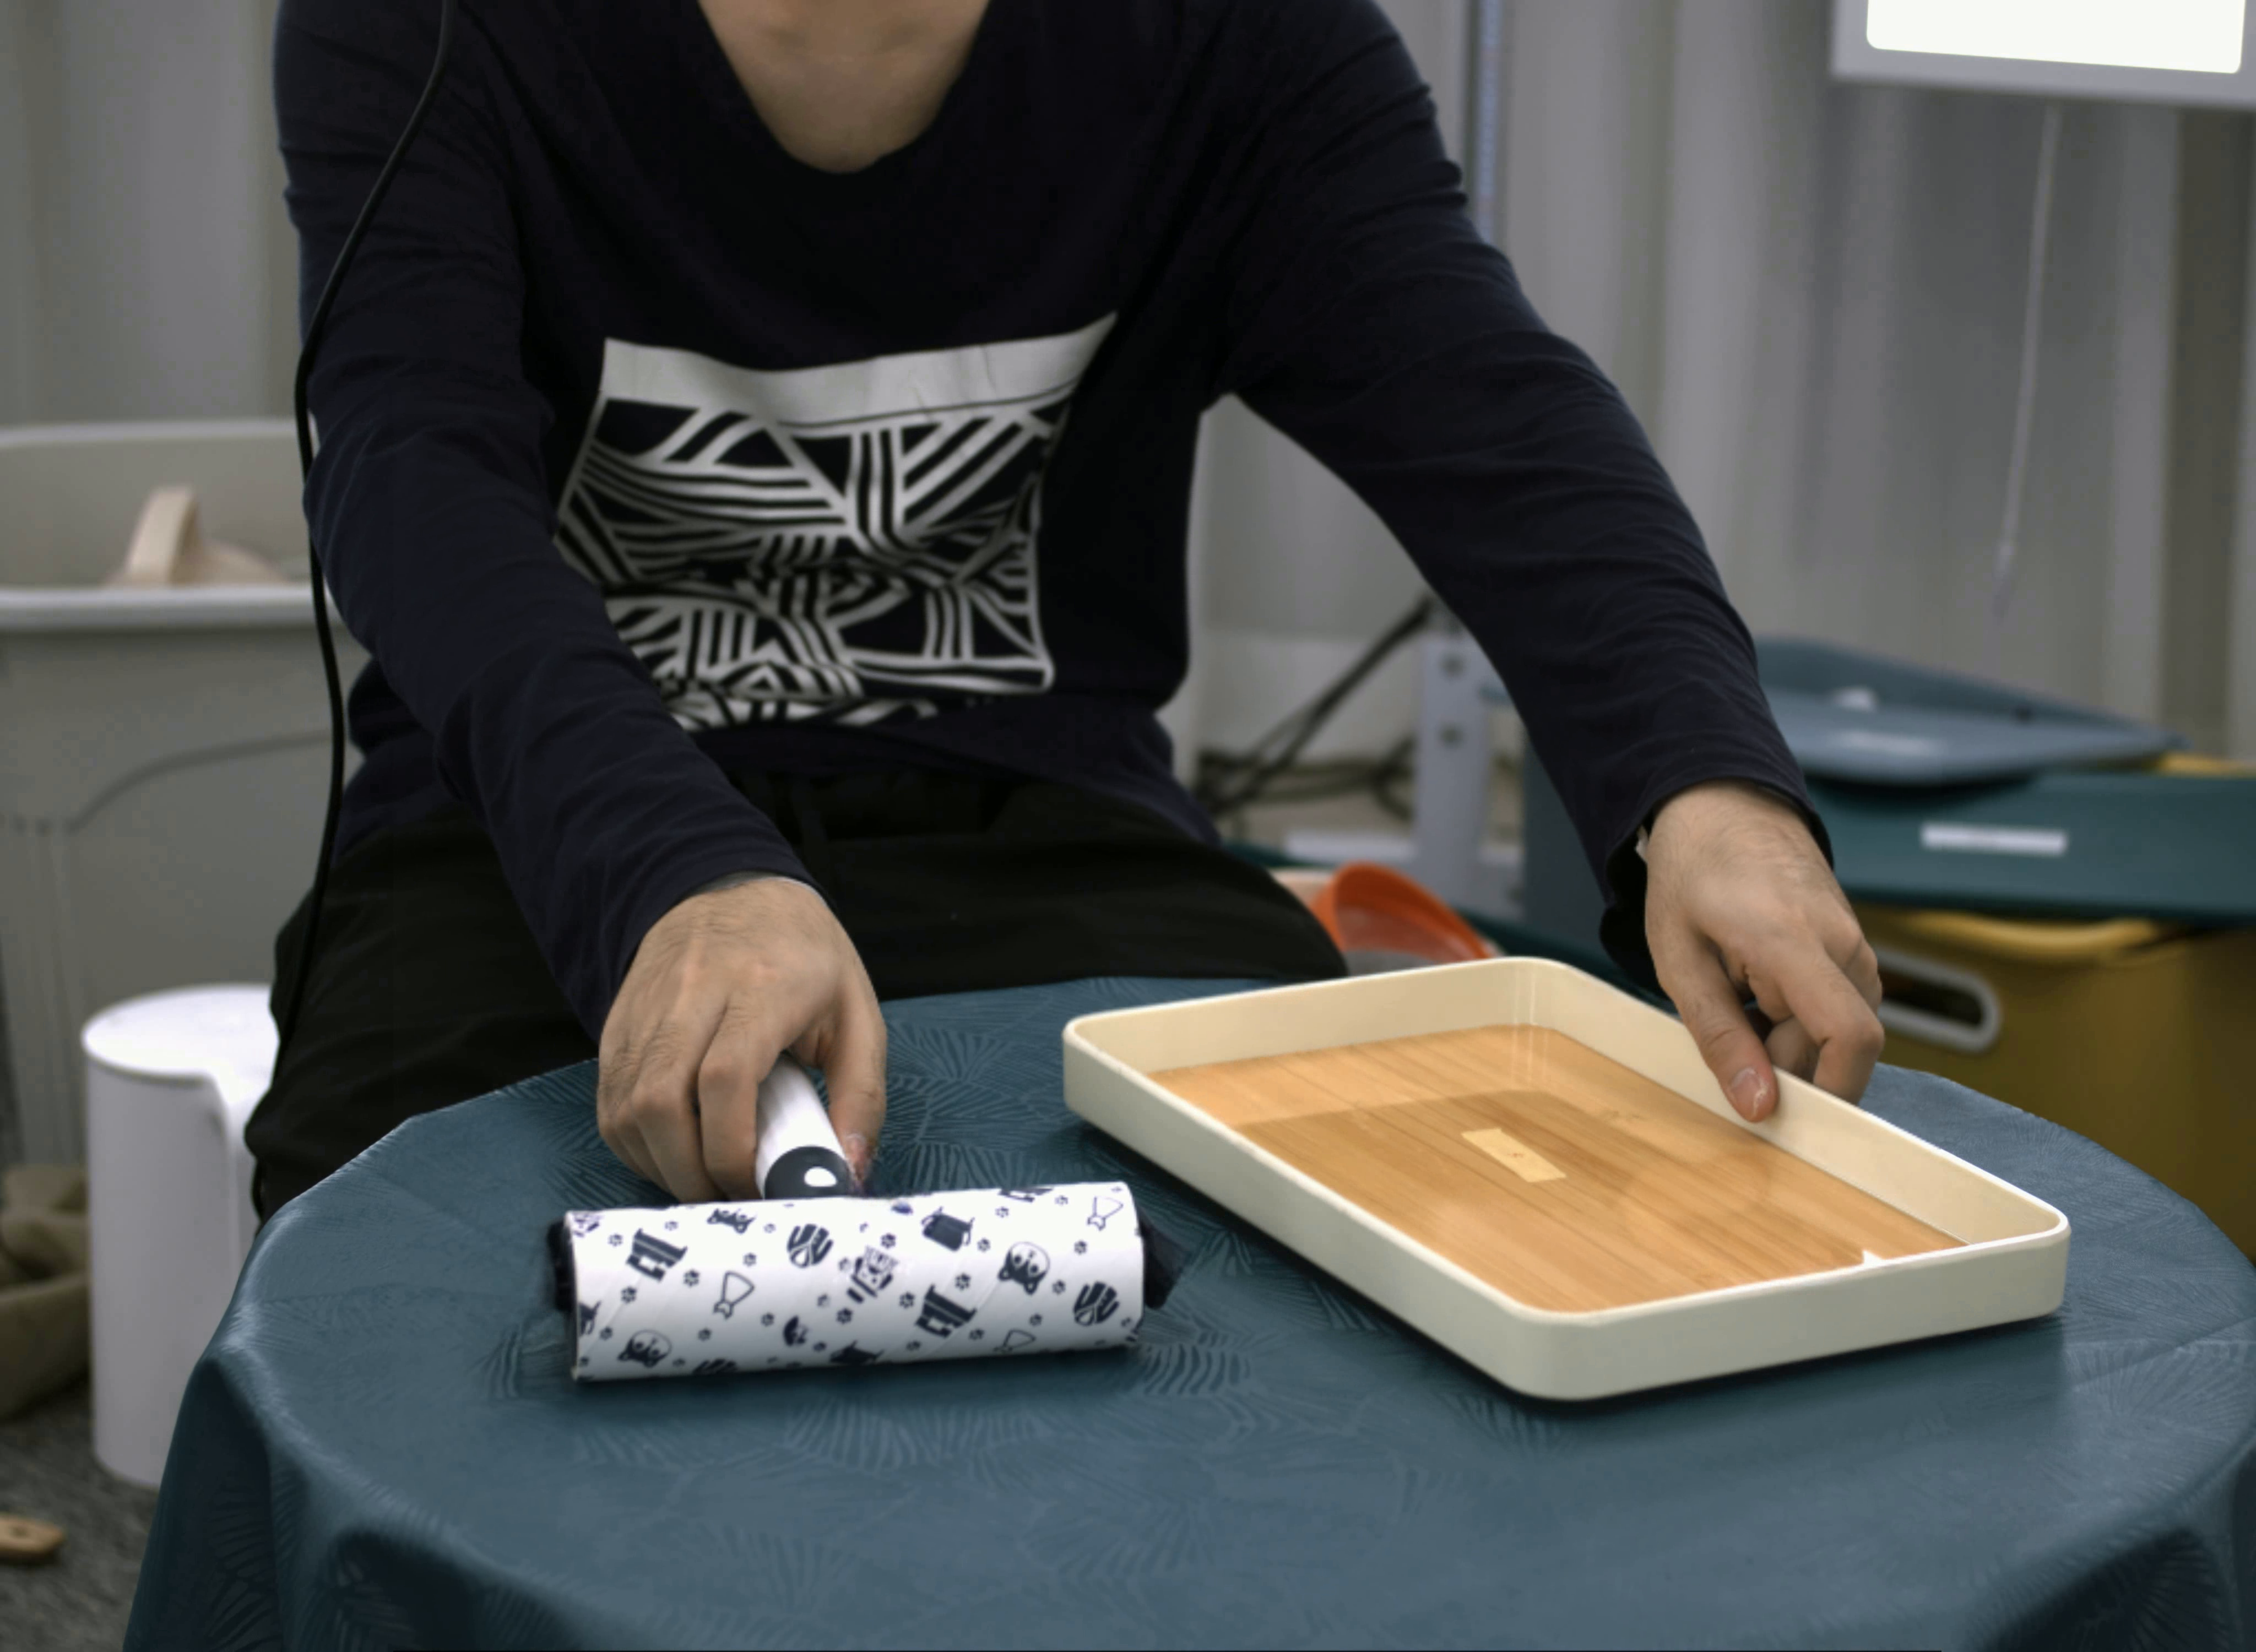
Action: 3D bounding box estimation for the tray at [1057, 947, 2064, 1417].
[{"bbox_3d":[0.124,0.102,1.598,0.192,0.027,0.296,-9,19,-26],"label":"tray"}]

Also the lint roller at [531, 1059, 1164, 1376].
[{"bbox_3d":[-0.098,0.103,1.573,0.176,0.051,0.245,-3,14,-11],"label":"lint roller"}]
